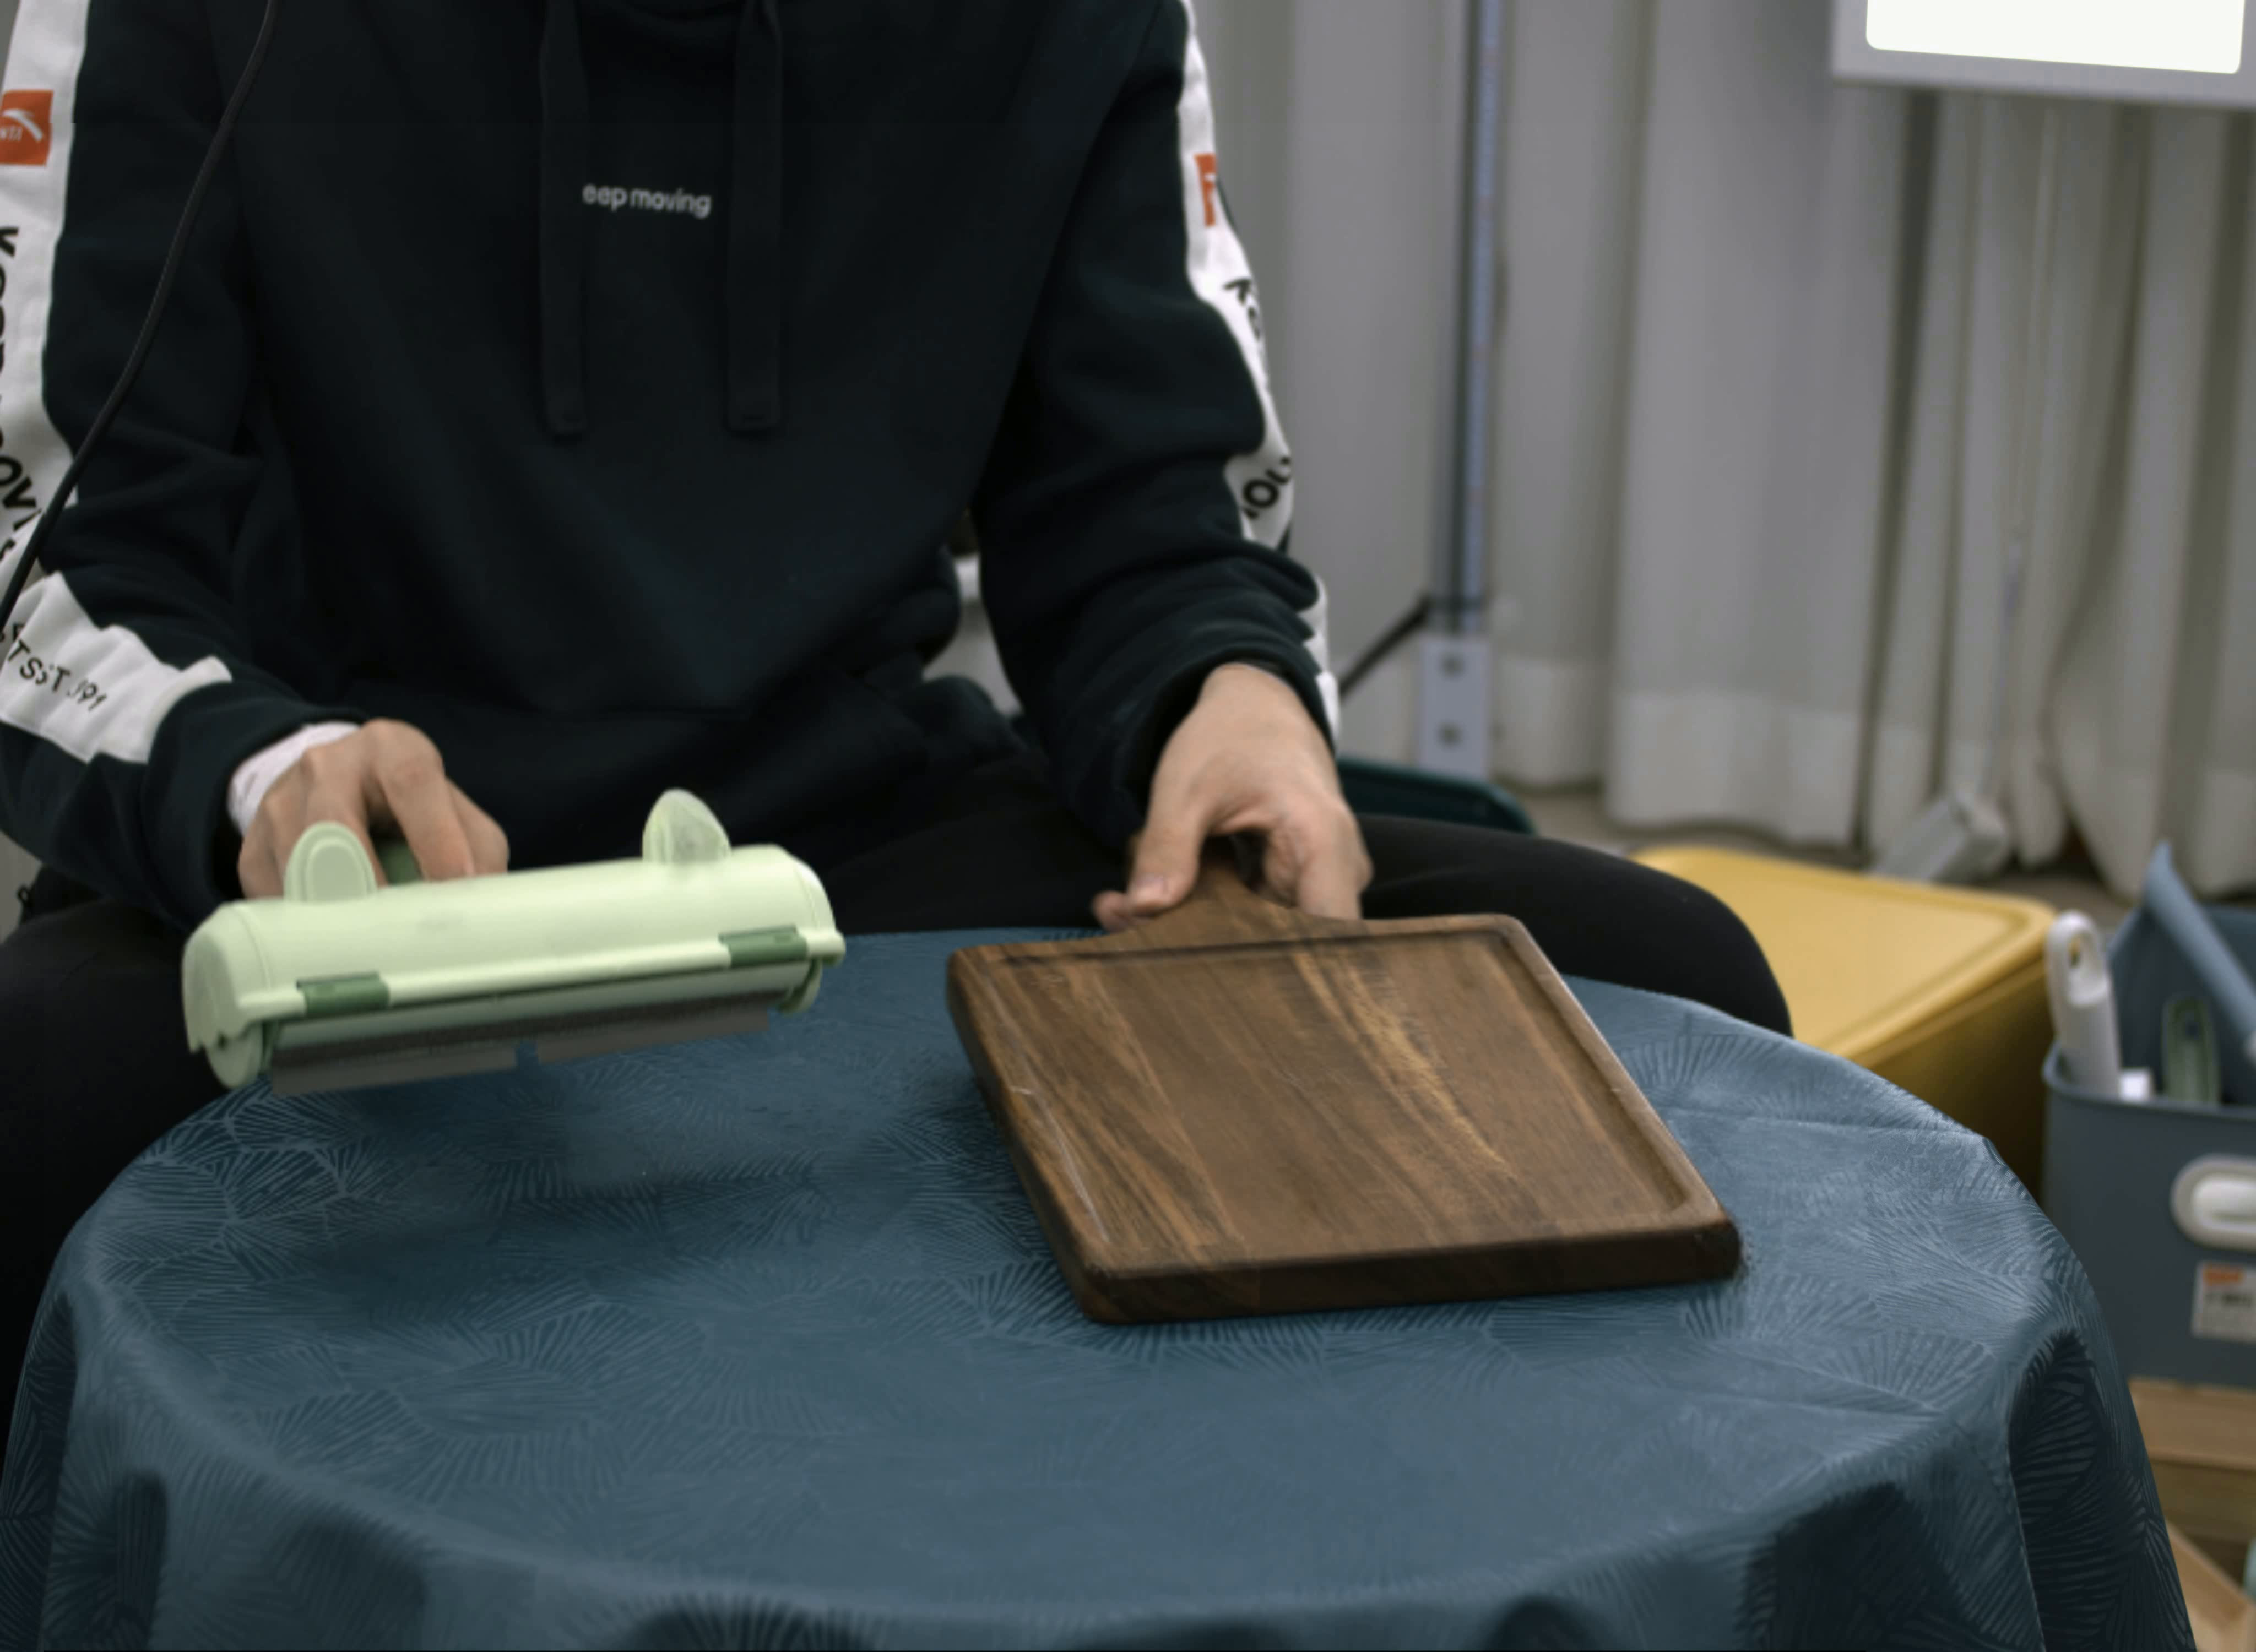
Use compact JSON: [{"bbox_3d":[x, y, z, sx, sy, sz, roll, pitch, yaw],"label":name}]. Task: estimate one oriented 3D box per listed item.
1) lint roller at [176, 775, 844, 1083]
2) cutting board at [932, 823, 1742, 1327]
[{"bbox_3d":[-0.210,0.013,1.620,0.199,0.083,0.181,-6,24,-29],"label":"lint roller"},{"bbox_3d":[0.048,0.069,1.678,0.201,0.023,0.348,-3,21,-13],"label":"cutting board"}]
